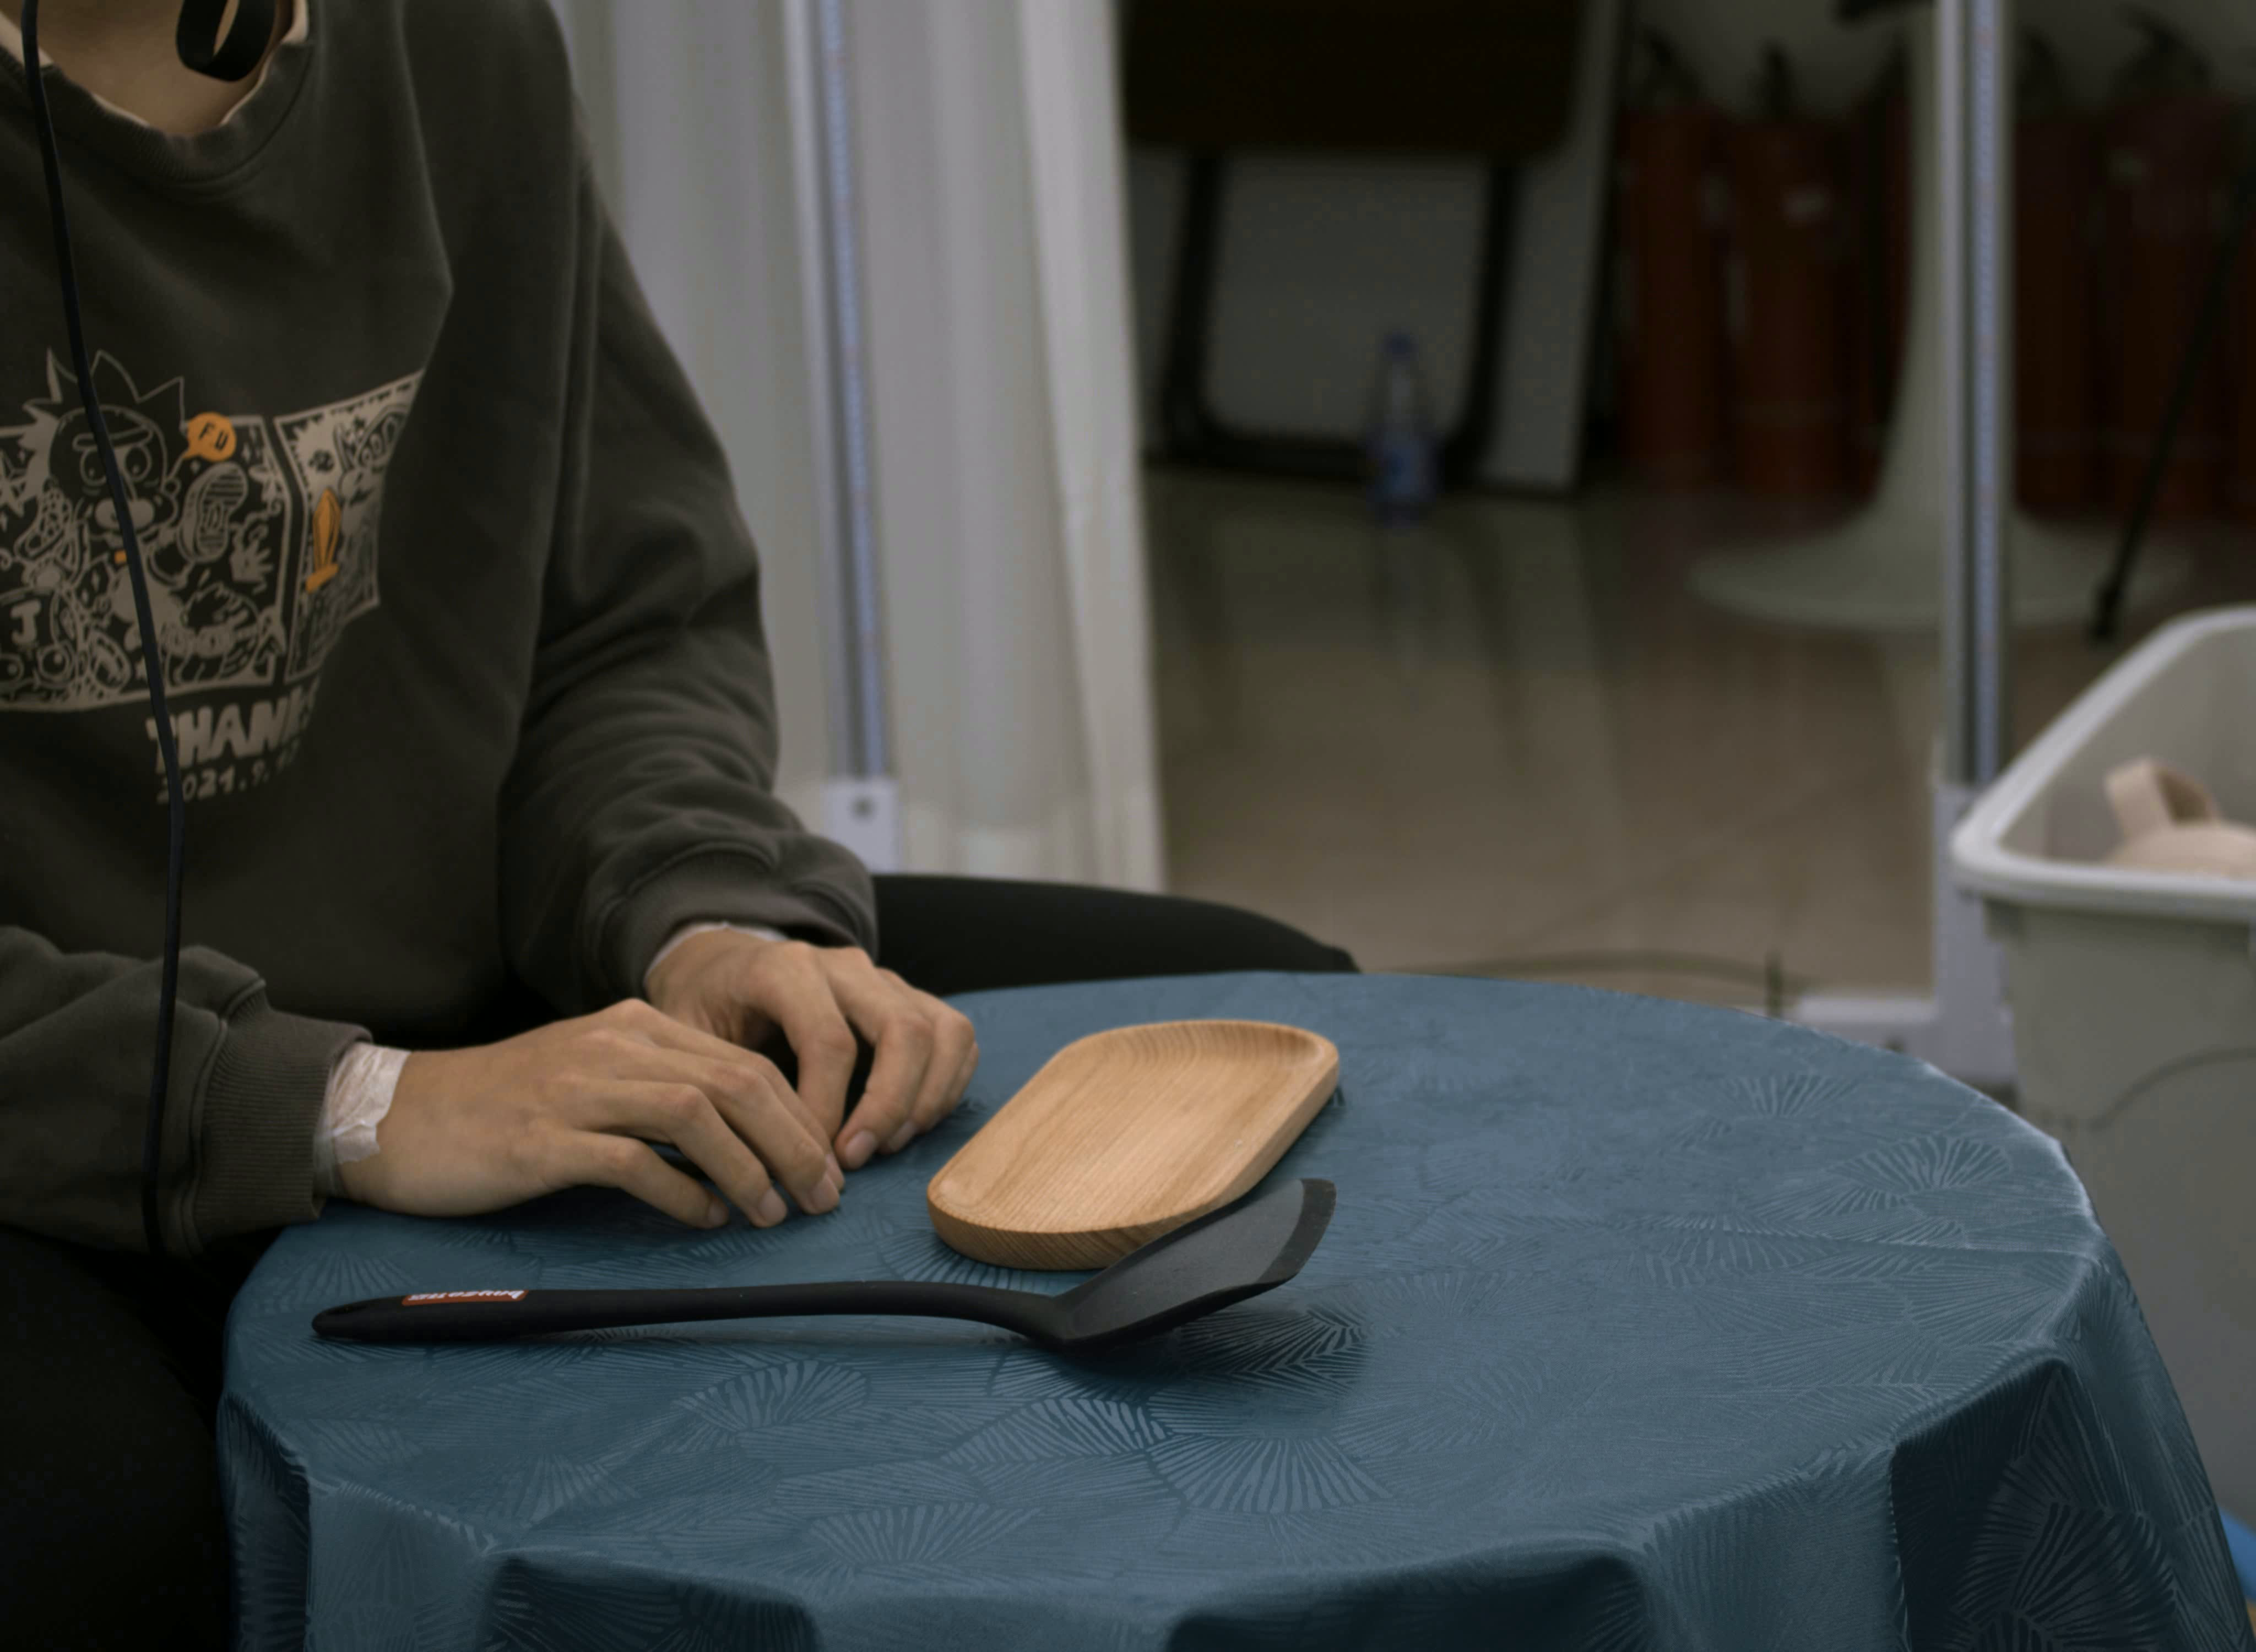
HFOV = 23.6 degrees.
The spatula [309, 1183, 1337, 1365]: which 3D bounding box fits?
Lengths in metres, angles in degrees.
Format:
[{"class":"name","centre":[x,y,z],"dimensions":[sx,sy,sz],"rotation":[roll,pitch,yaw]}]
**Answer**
[{"class":"spatula","centre":[-0.096,0.141,1.647],"dimensions":[0.324,0.041,0.099],"rotation":[-1,13,12]}]

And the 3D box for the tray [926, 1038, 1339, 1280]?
[{"class":"tray","centre":[0.004,0.109,1.795],"dimensions":[0.101,0.020,0.229],"rotation":[0,15,18]}]
